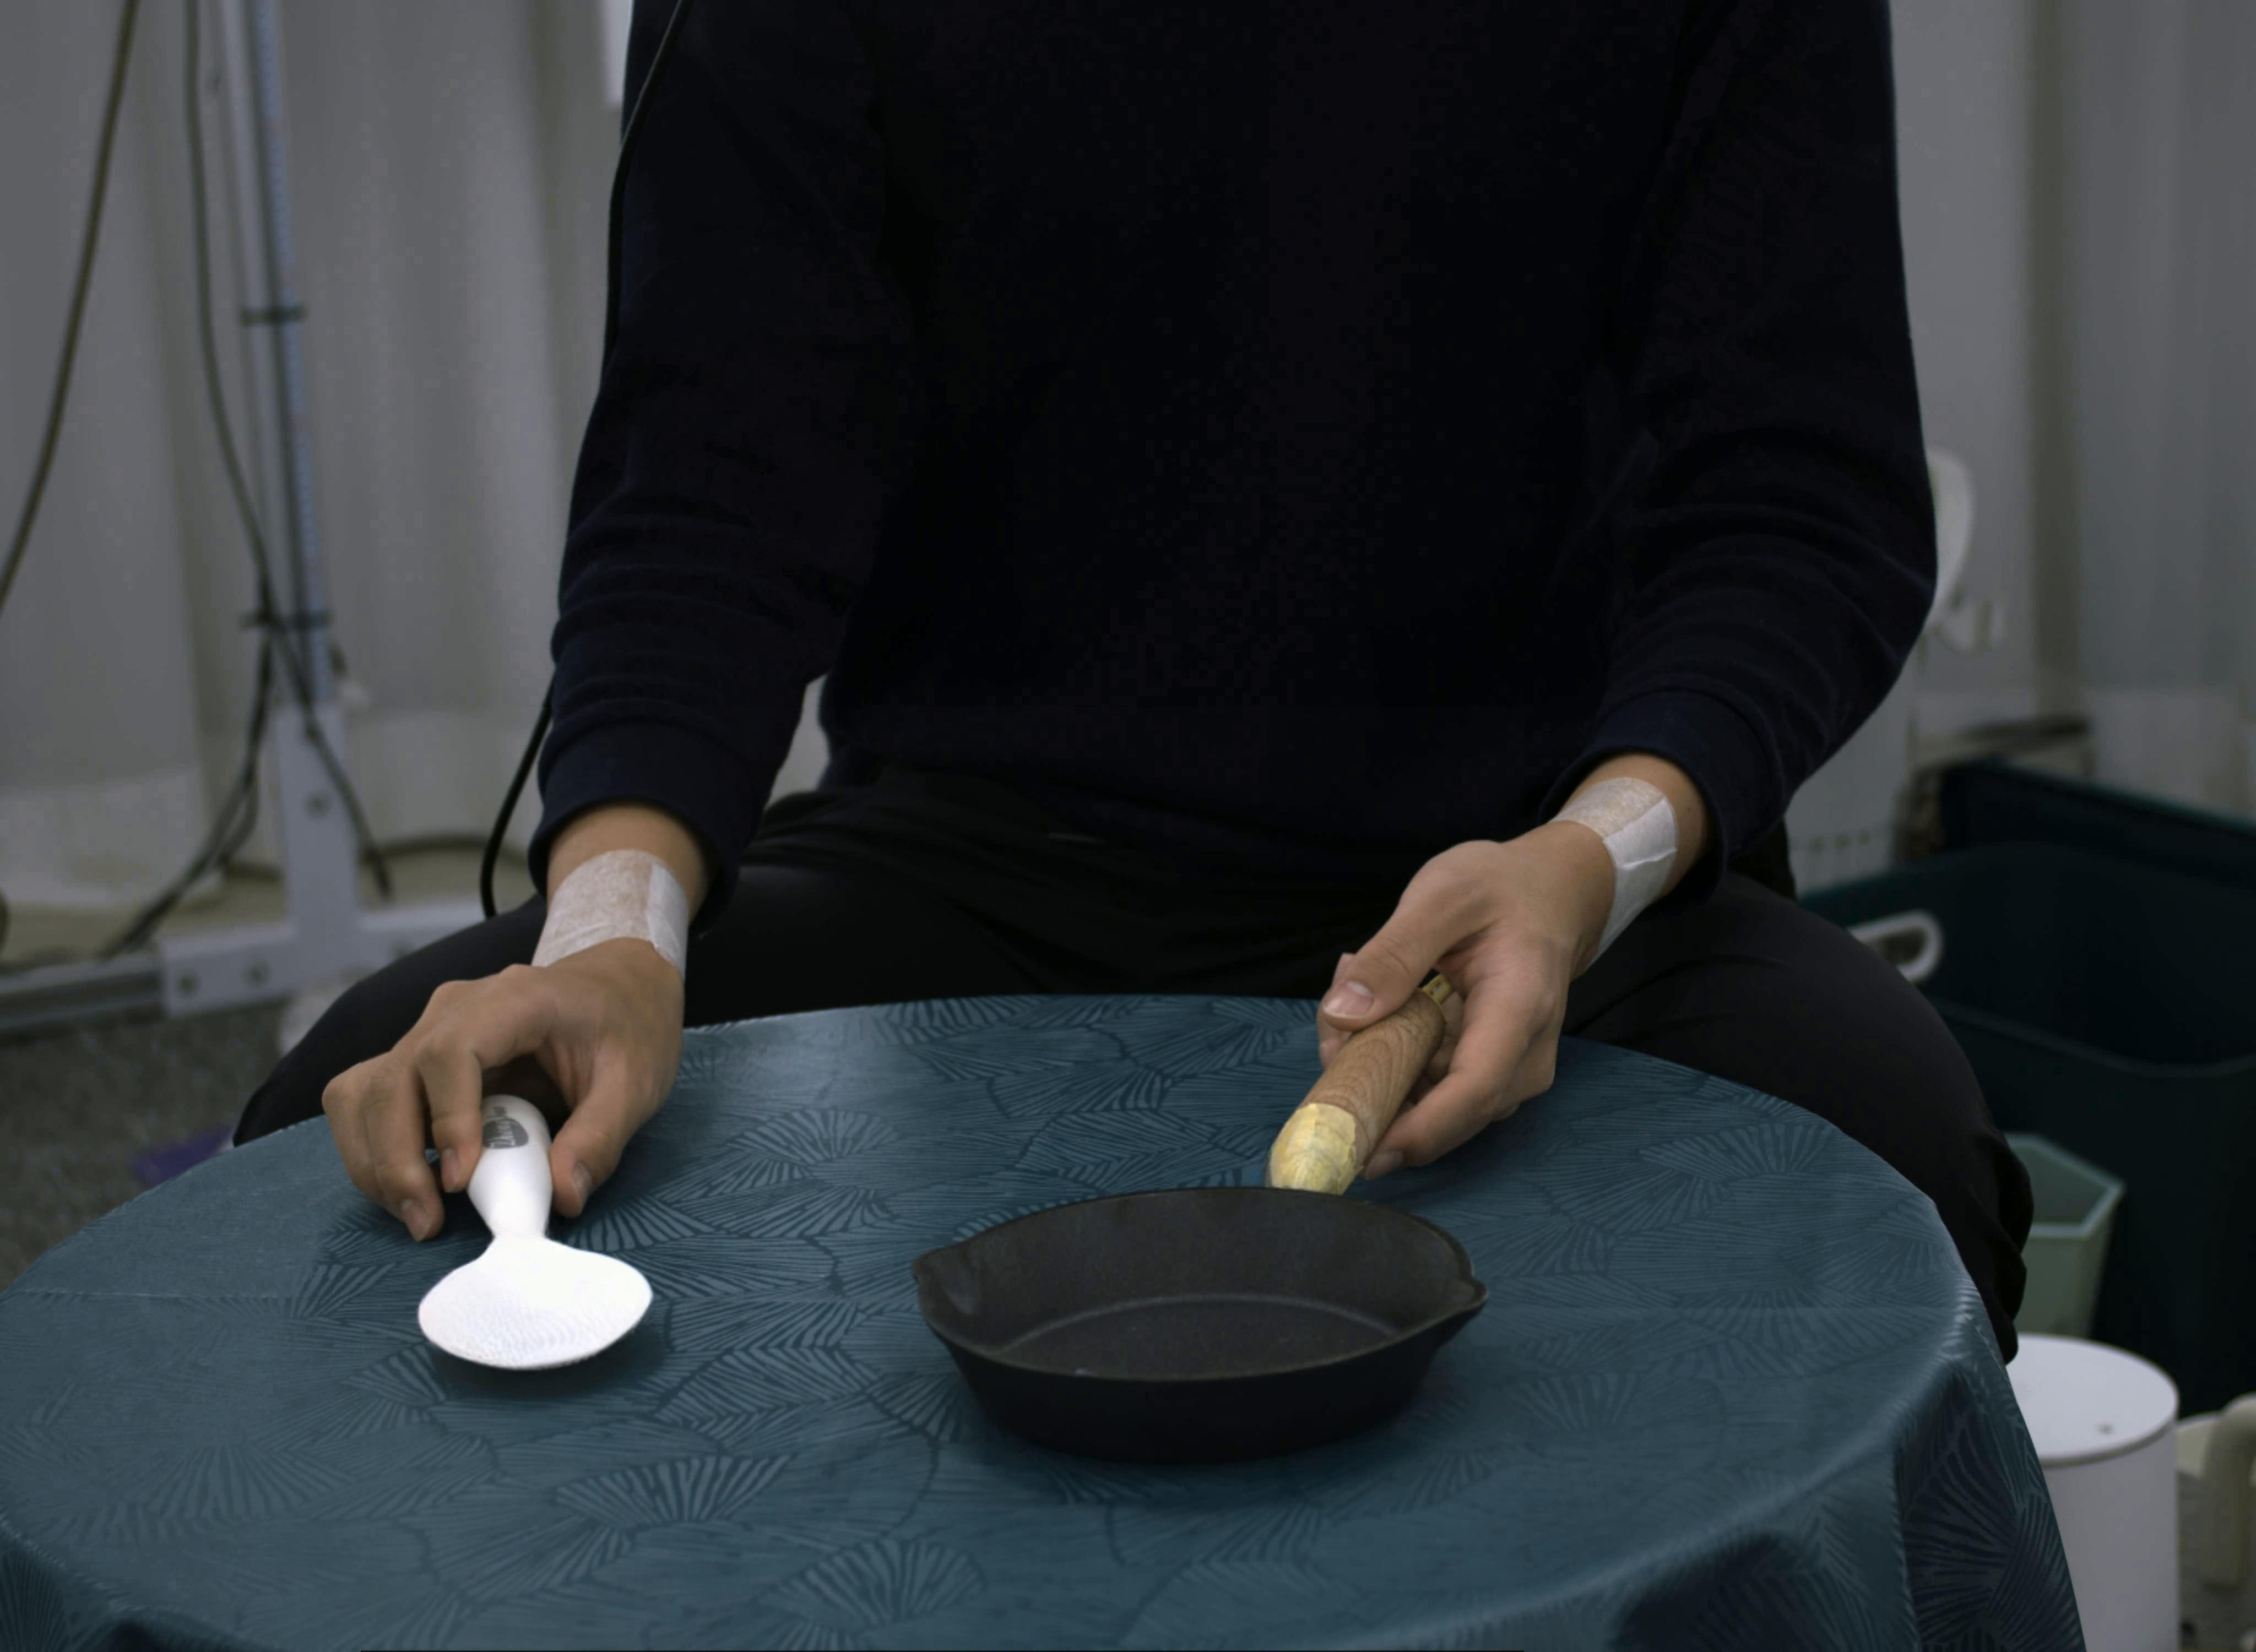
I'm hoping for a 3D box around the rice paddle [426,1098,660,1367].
[{"bbox_3d":[-0.182,0.125,1.657,0.068,0.029,0.207,-8,15,-9],"label":"rice paddle"}]

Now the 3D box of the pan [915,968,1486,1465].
[{"bbox_3d":[0.049,0.112,1.619,0.169,0.049,0.325,3,17,21],"label":"pan"}]
